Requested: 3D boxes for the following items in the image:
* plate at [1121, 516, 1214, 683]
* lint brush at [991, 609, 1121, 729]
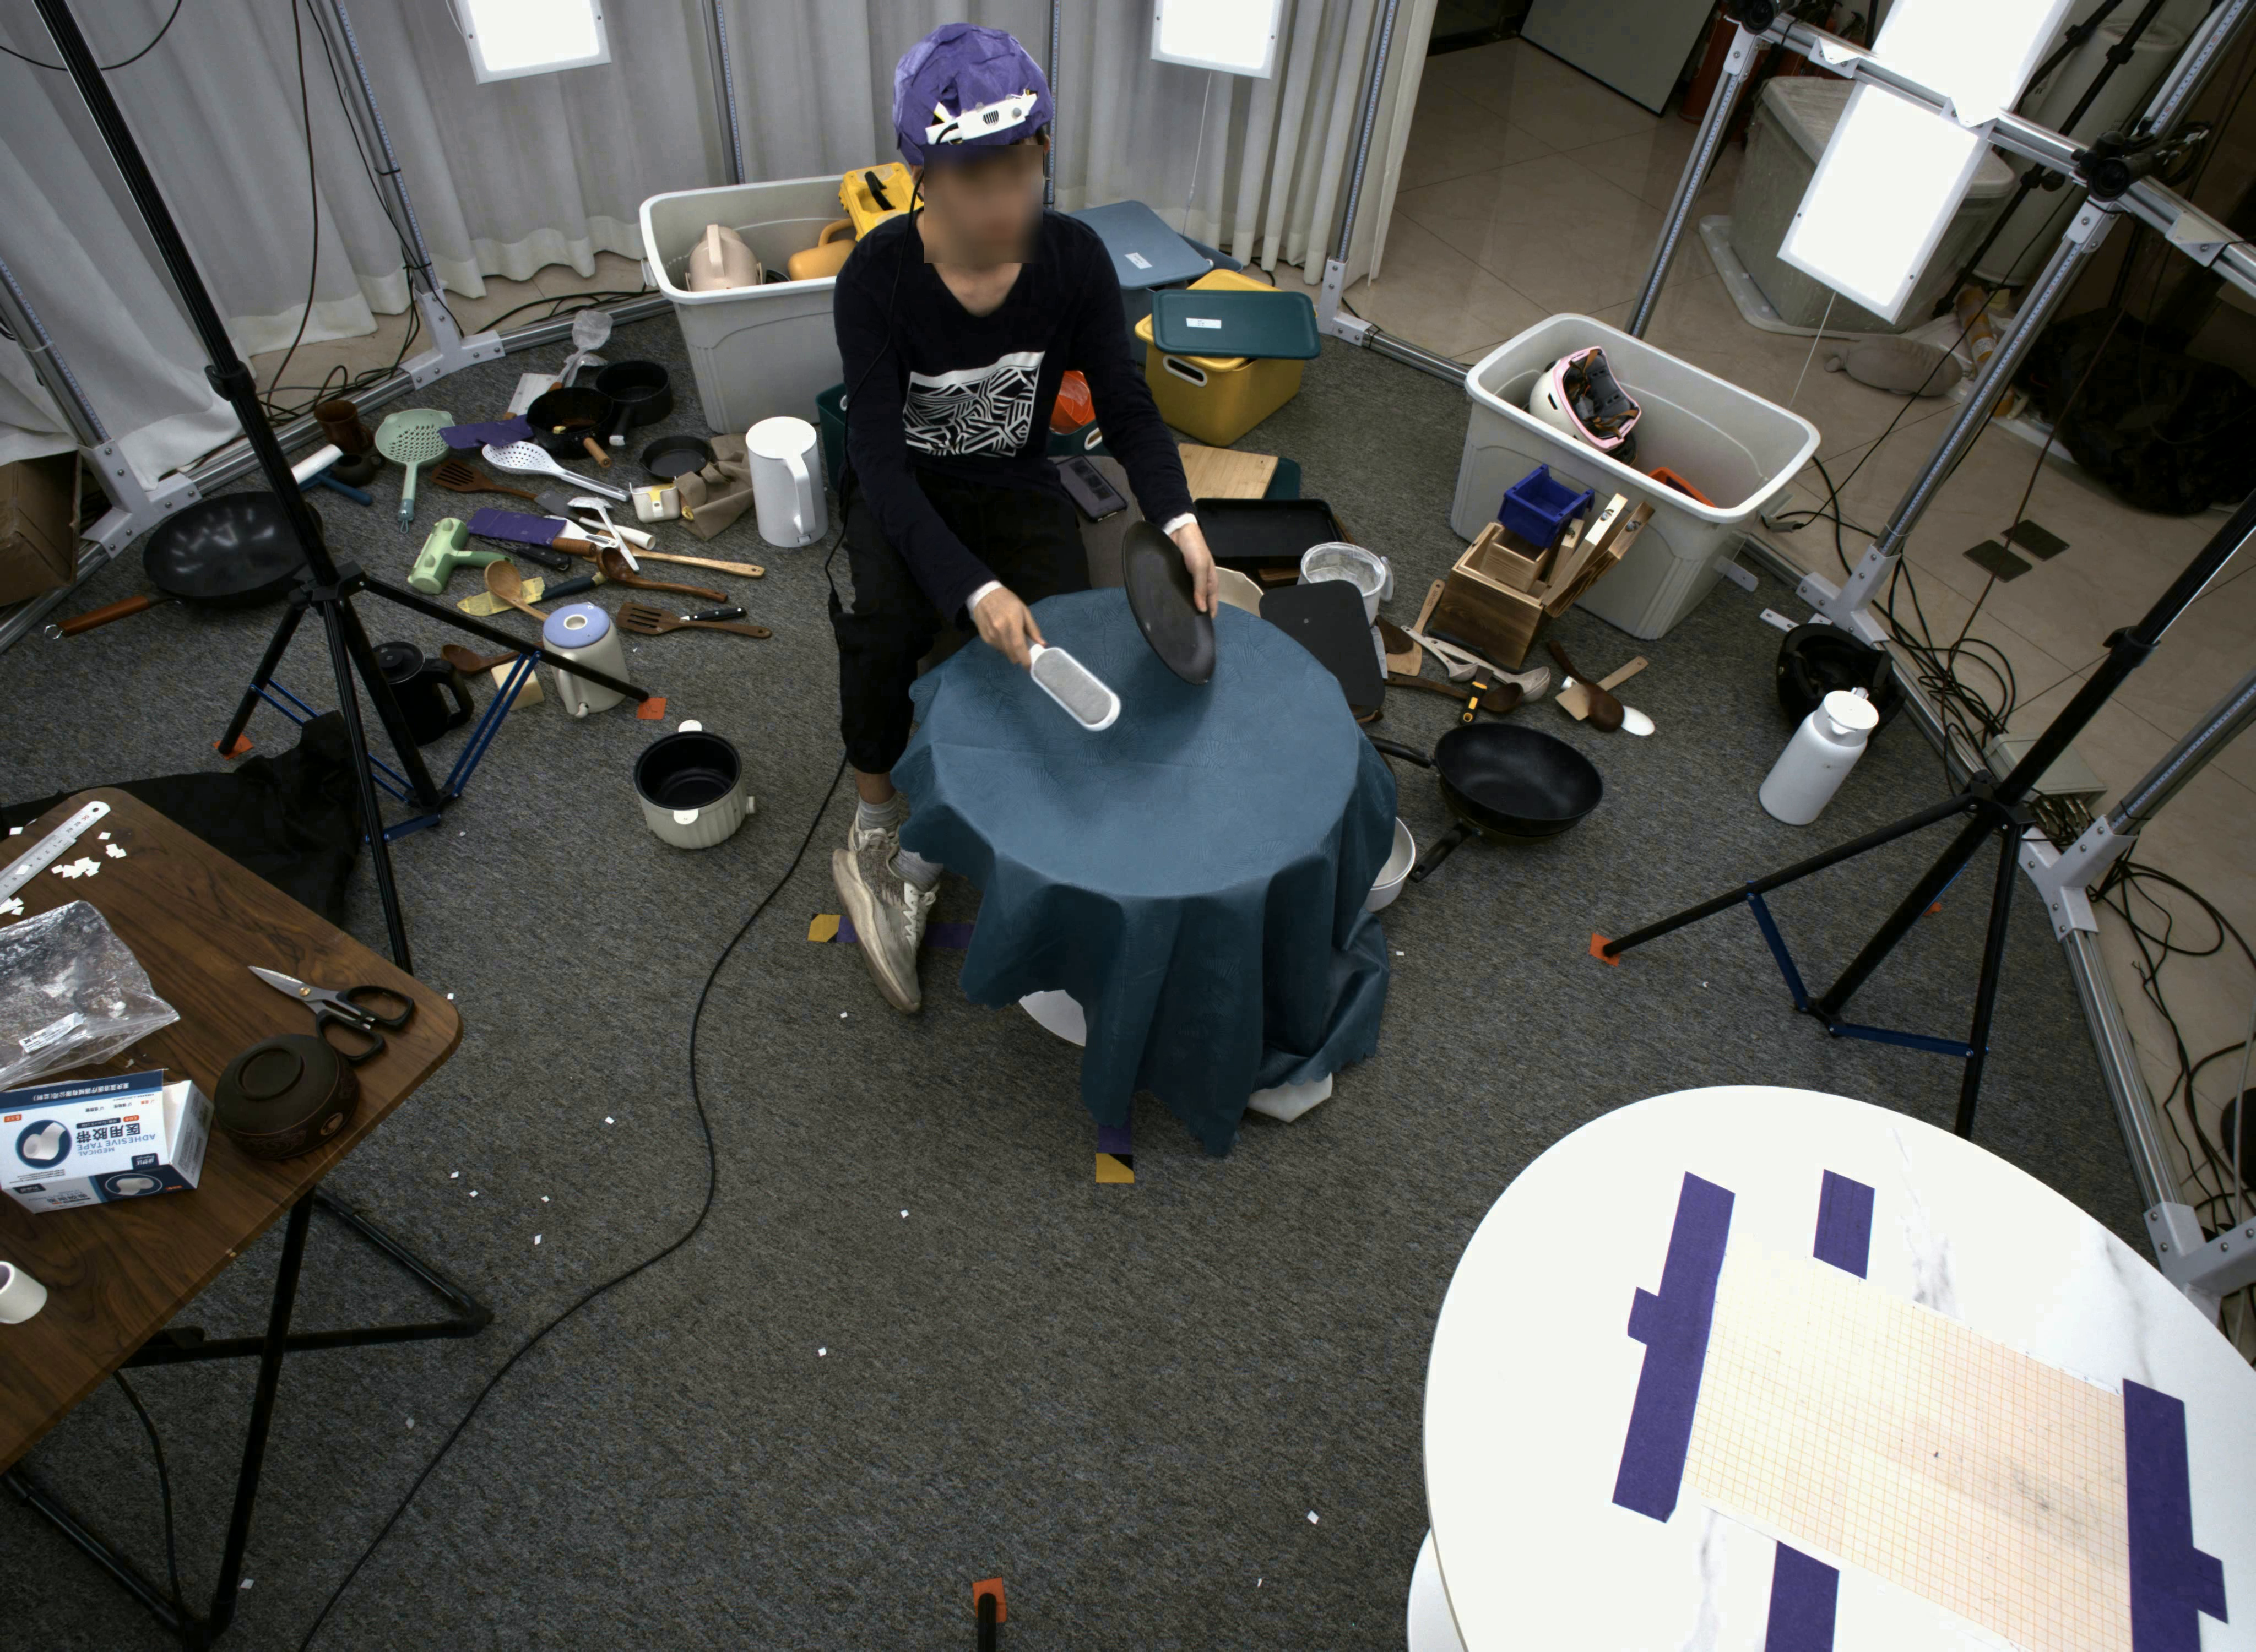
[{"bbox_3d":[0.050,-0.311,1.785,0.023,0.239,0.250,-20,42,28],"label":"plate"},{"bbox_3d":[-0.103,-0.220,1.735,0.060,0.020,0.315,-50,48,5],"label":"lint brush"}]
